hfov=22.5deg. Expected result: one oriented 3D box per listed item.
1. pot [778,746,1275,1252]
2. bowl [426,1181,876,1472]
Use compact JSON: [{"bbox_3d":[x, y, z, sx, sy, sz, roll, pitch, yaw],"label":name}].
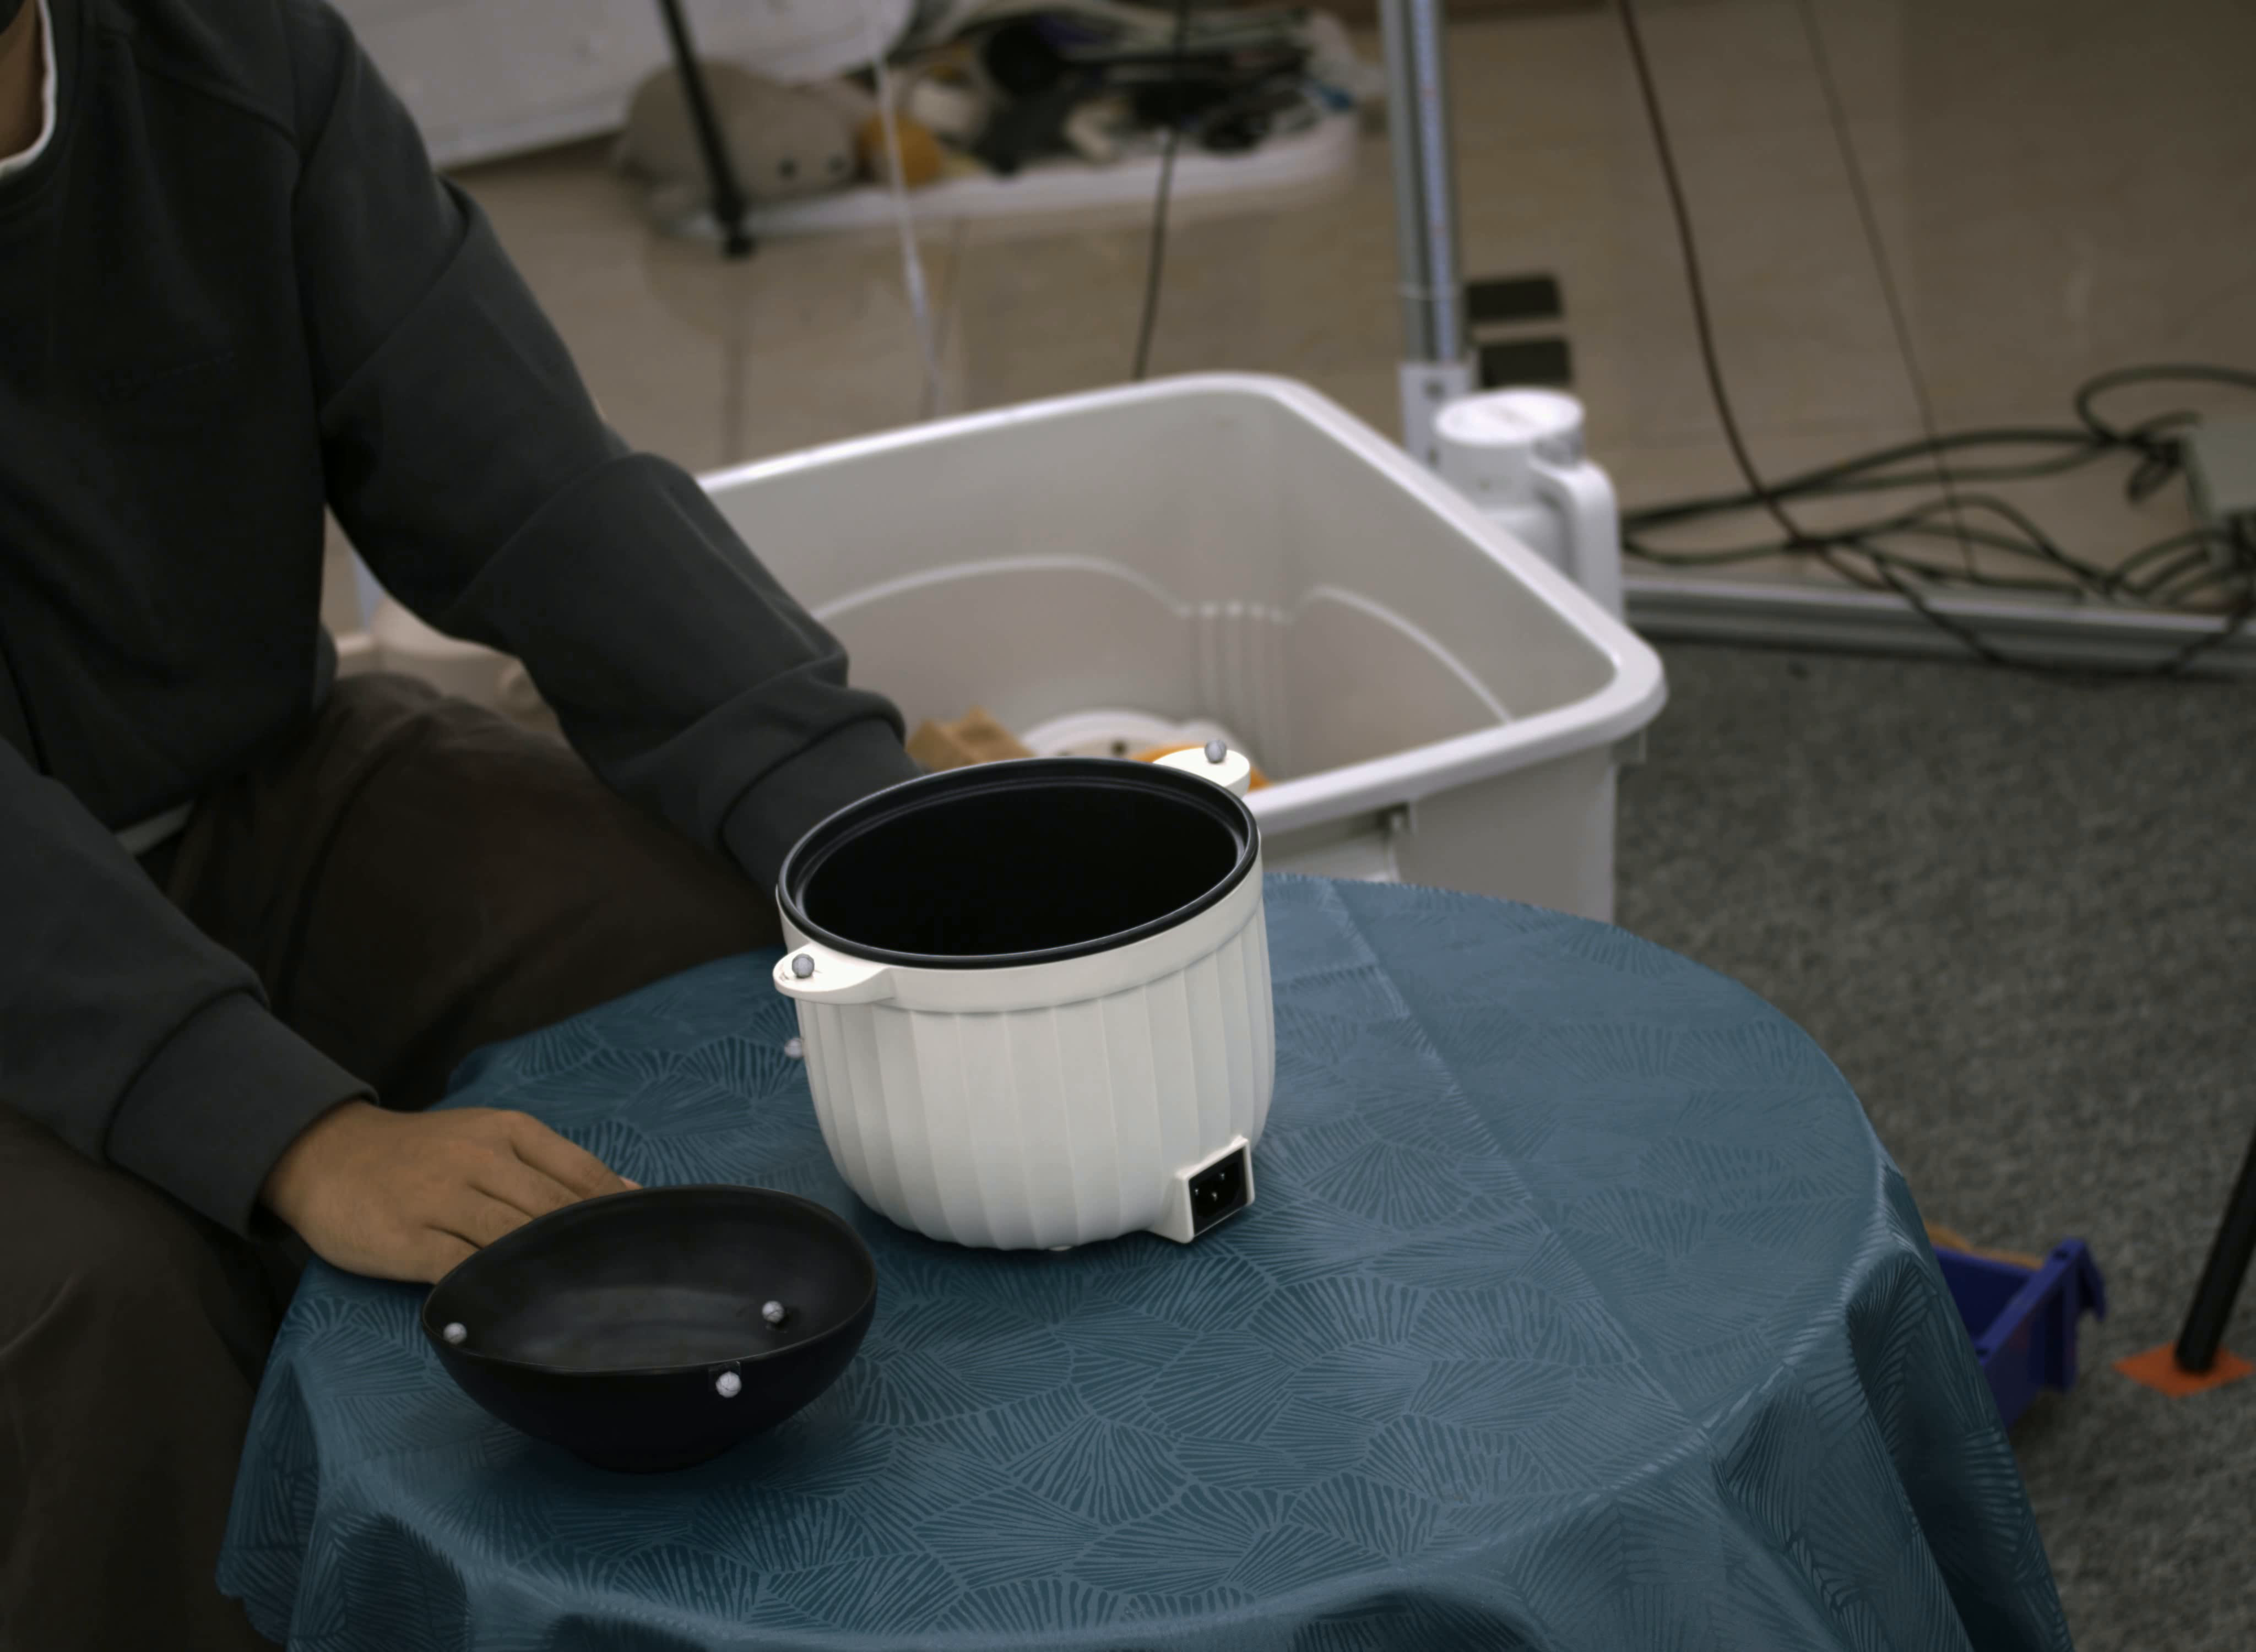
[{"bbox_3d":[-0.039,0.070,2.139,0.189,0.145,0.238,20,34,38],"label":"pot"},{"bbox_3d":[-0.167,0.186,2.010,0.170,0.068,0.135,2,26,21],"label":"bowl"}]
